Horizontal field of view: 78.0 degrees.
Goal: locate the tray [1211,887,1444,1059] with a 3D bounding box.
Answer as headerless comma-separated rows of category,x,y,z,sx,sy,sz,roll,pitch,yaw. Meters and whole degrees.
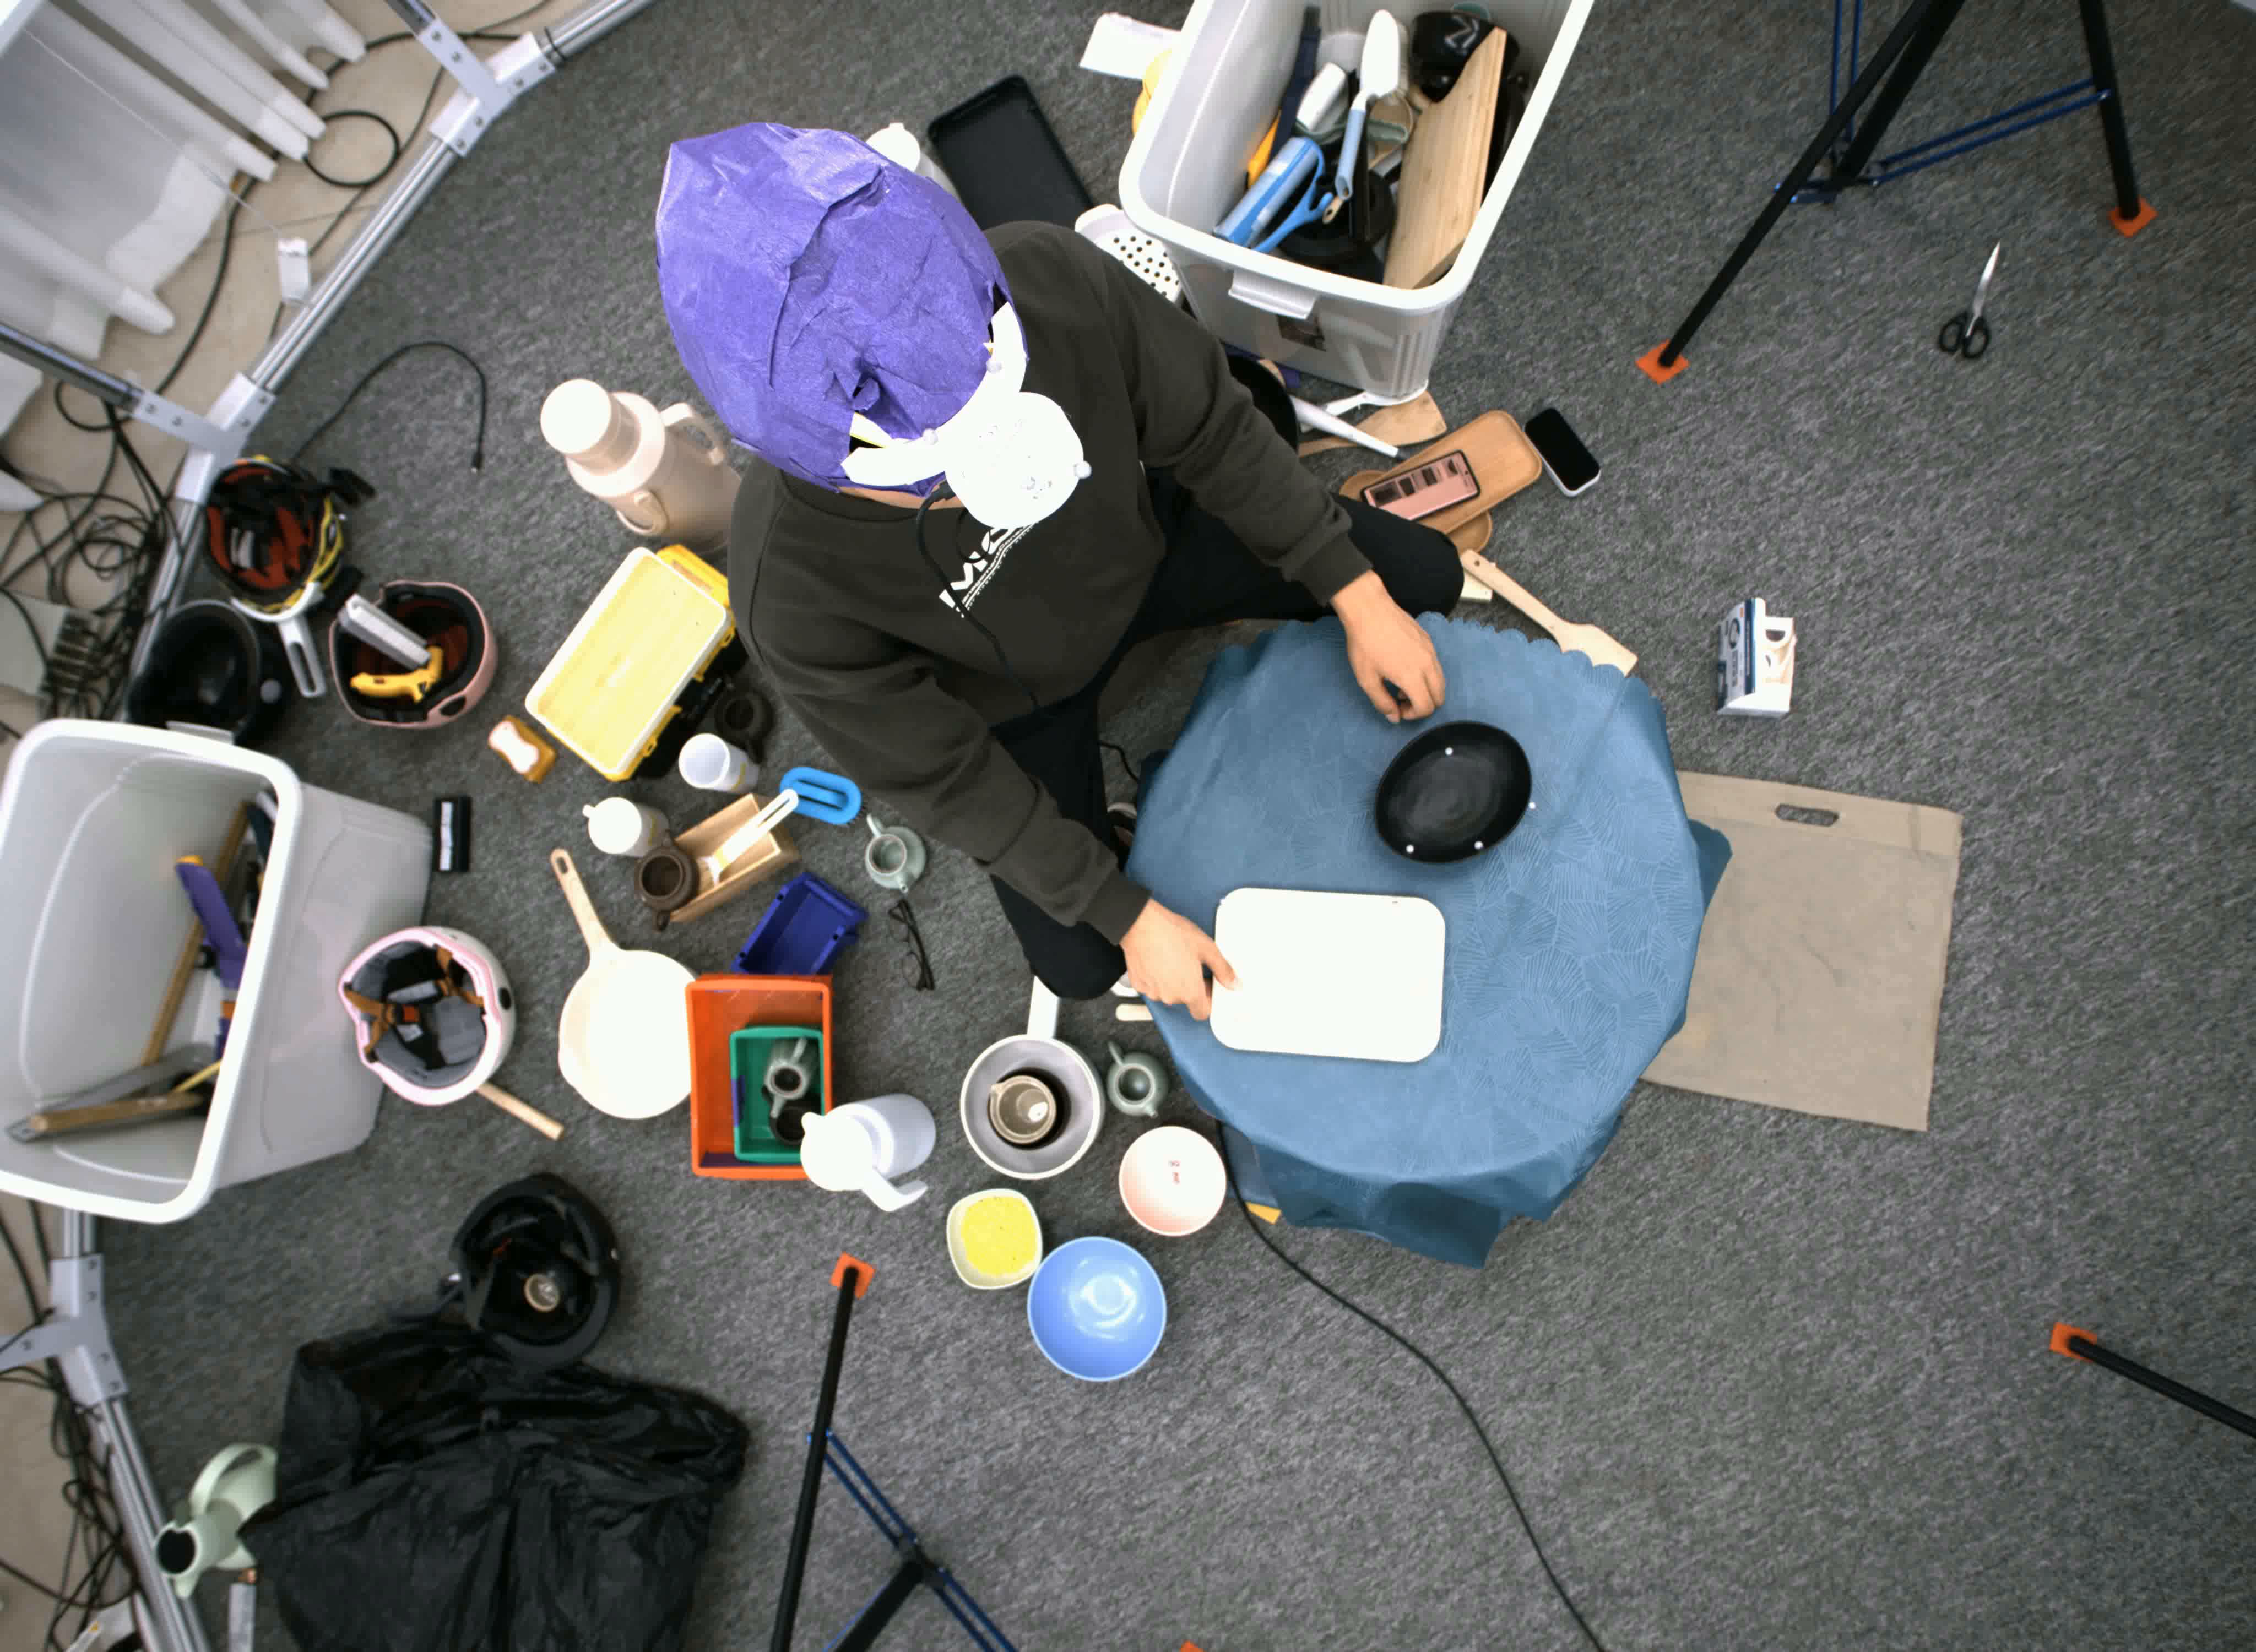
tray,0.209,0.152,1.457,0.240,0.017,0.170,3,88,11

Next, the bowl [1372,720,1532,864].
bowl,0.335,-0.032,1.423,0.171,0.066,0.136,-36,79,9
